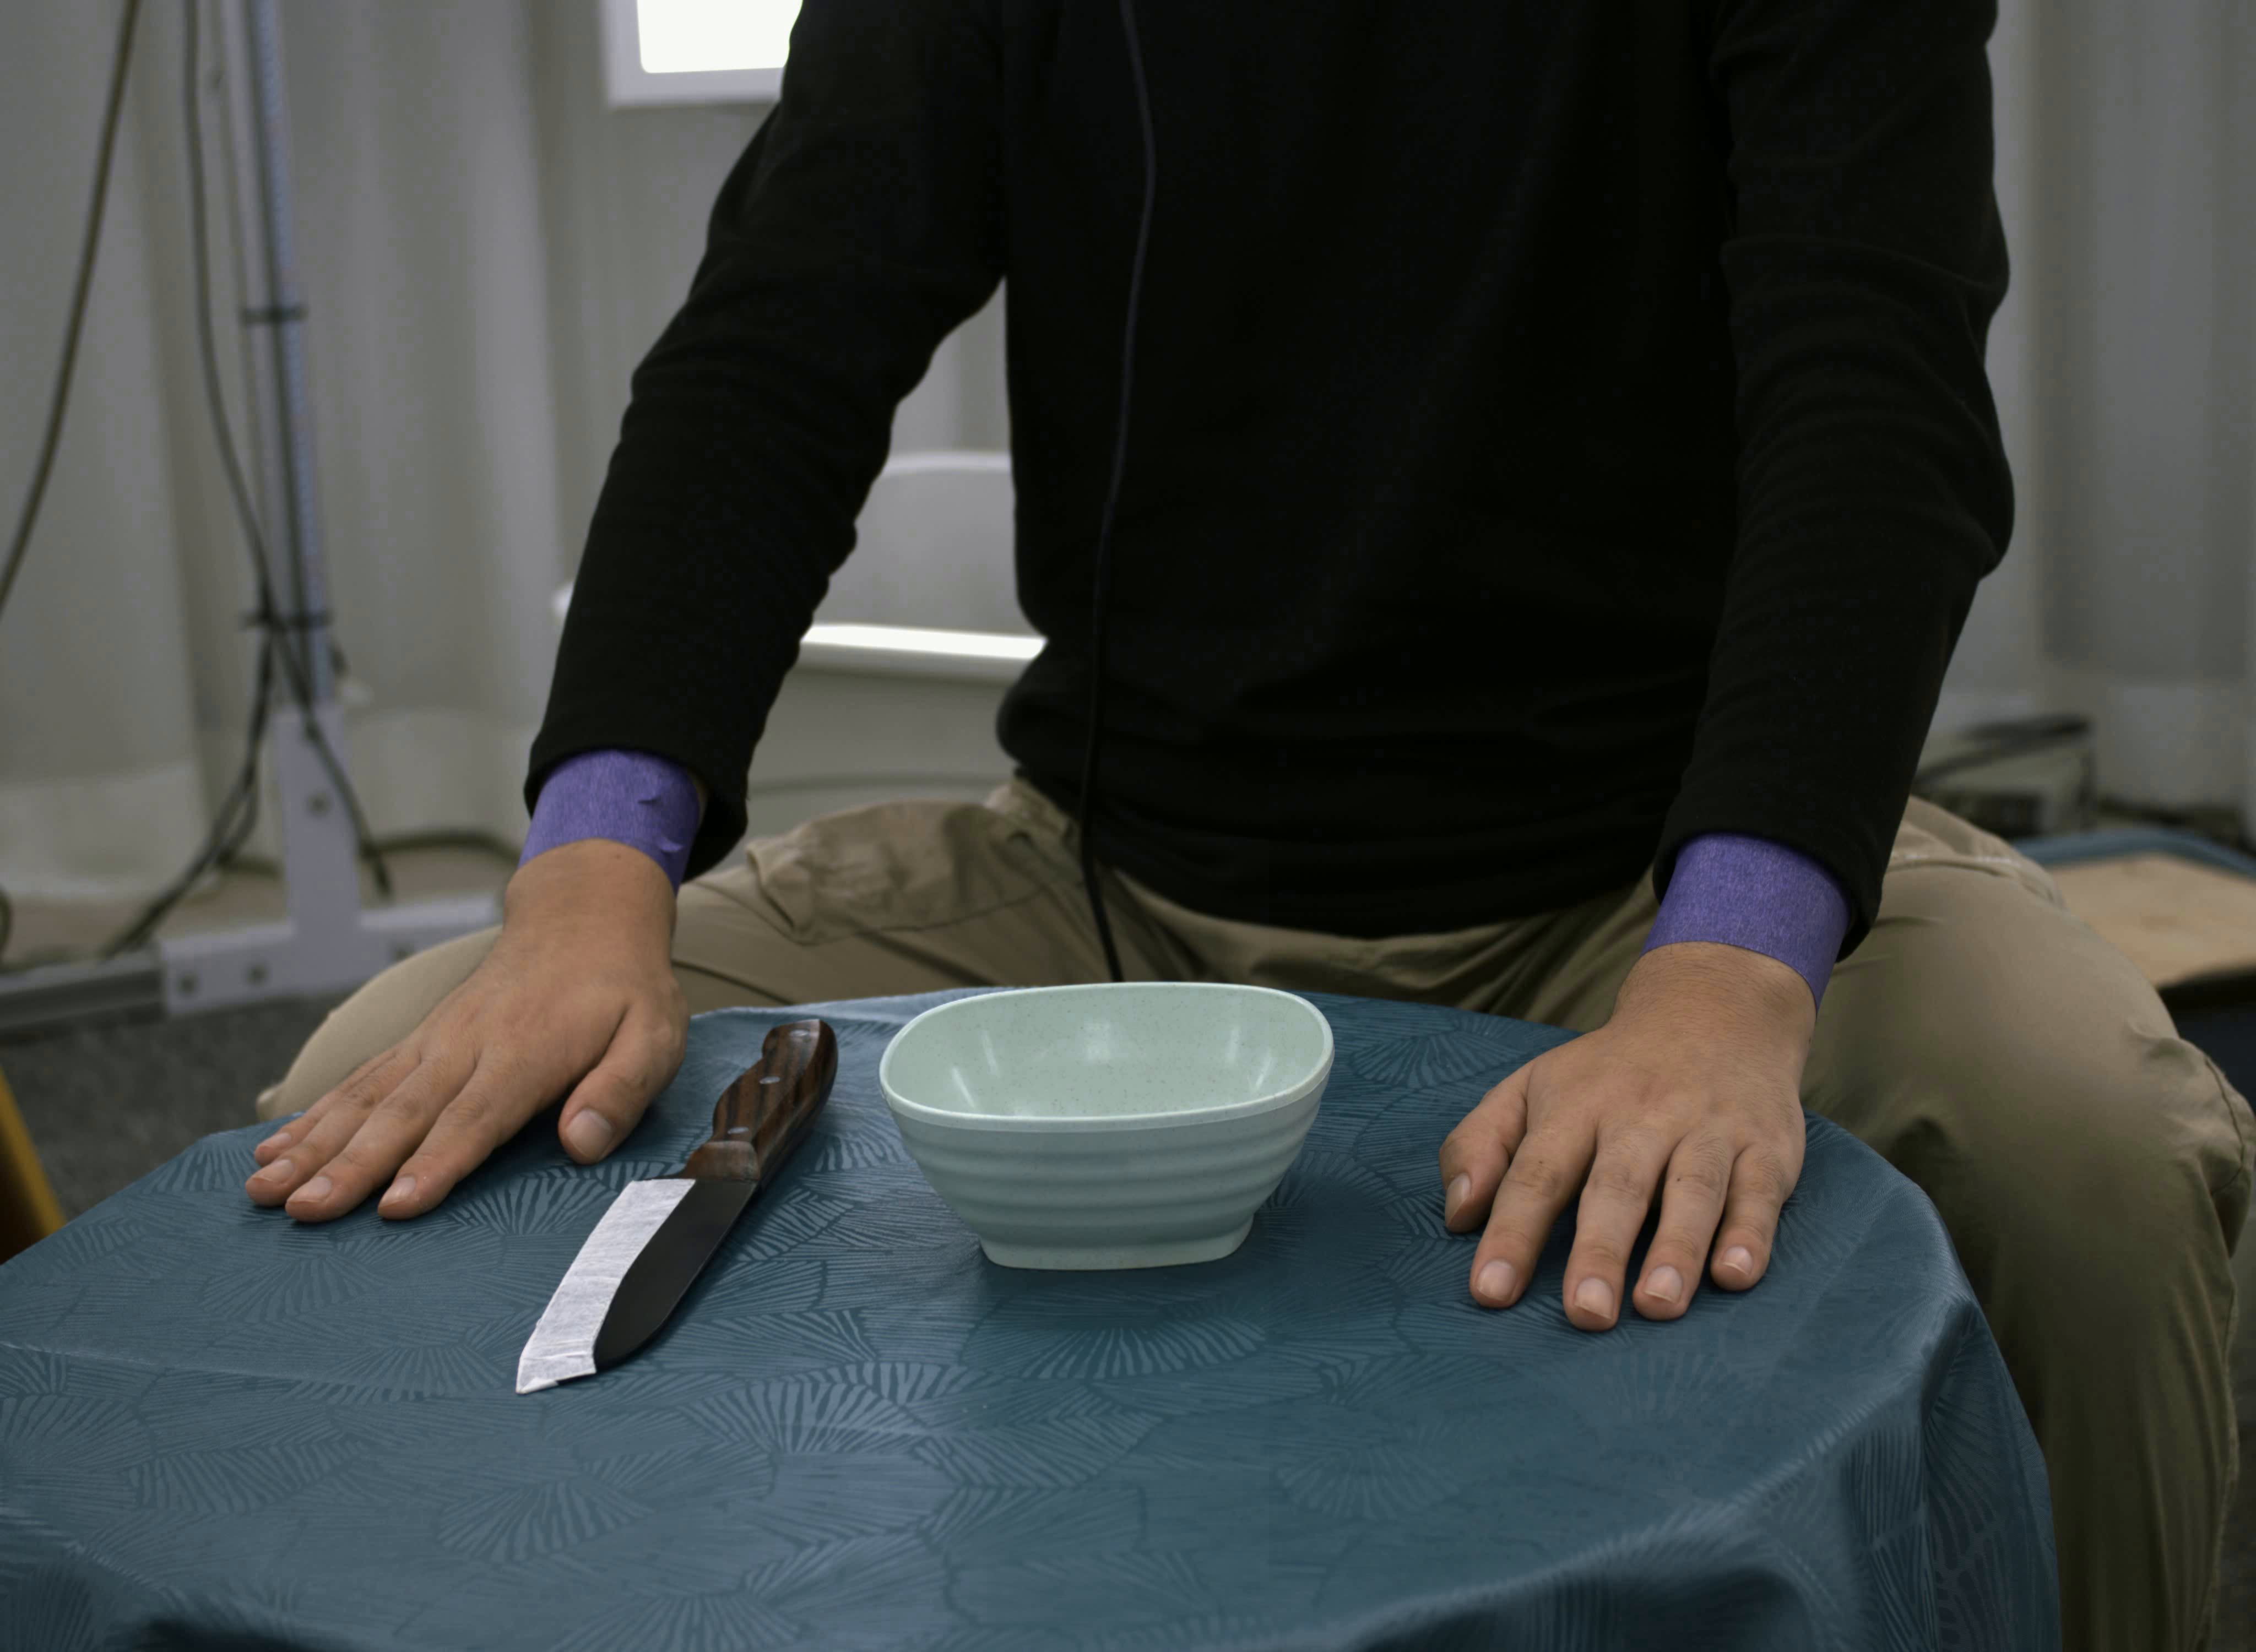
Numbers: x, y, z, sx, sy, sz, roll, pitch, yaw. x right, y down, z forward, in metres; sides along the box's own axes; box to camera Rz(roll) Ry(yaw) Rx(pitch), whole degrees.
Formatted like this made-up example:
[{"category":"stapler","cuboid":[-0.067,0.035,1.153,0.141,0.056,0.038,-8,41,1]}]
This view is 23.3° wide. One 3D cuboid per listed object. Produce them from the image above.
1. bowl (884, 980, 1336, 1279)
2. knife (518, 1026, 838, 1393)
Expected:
[{"category":"bowl","cuboid":[-0.004,0.096,1.678,0.151,0.058,0.152,-3,16,1]},{"category":"knife","cuboid":[-0.137,0.119,1.698,0.050,0.020,0.291,-4,17,15]}]
